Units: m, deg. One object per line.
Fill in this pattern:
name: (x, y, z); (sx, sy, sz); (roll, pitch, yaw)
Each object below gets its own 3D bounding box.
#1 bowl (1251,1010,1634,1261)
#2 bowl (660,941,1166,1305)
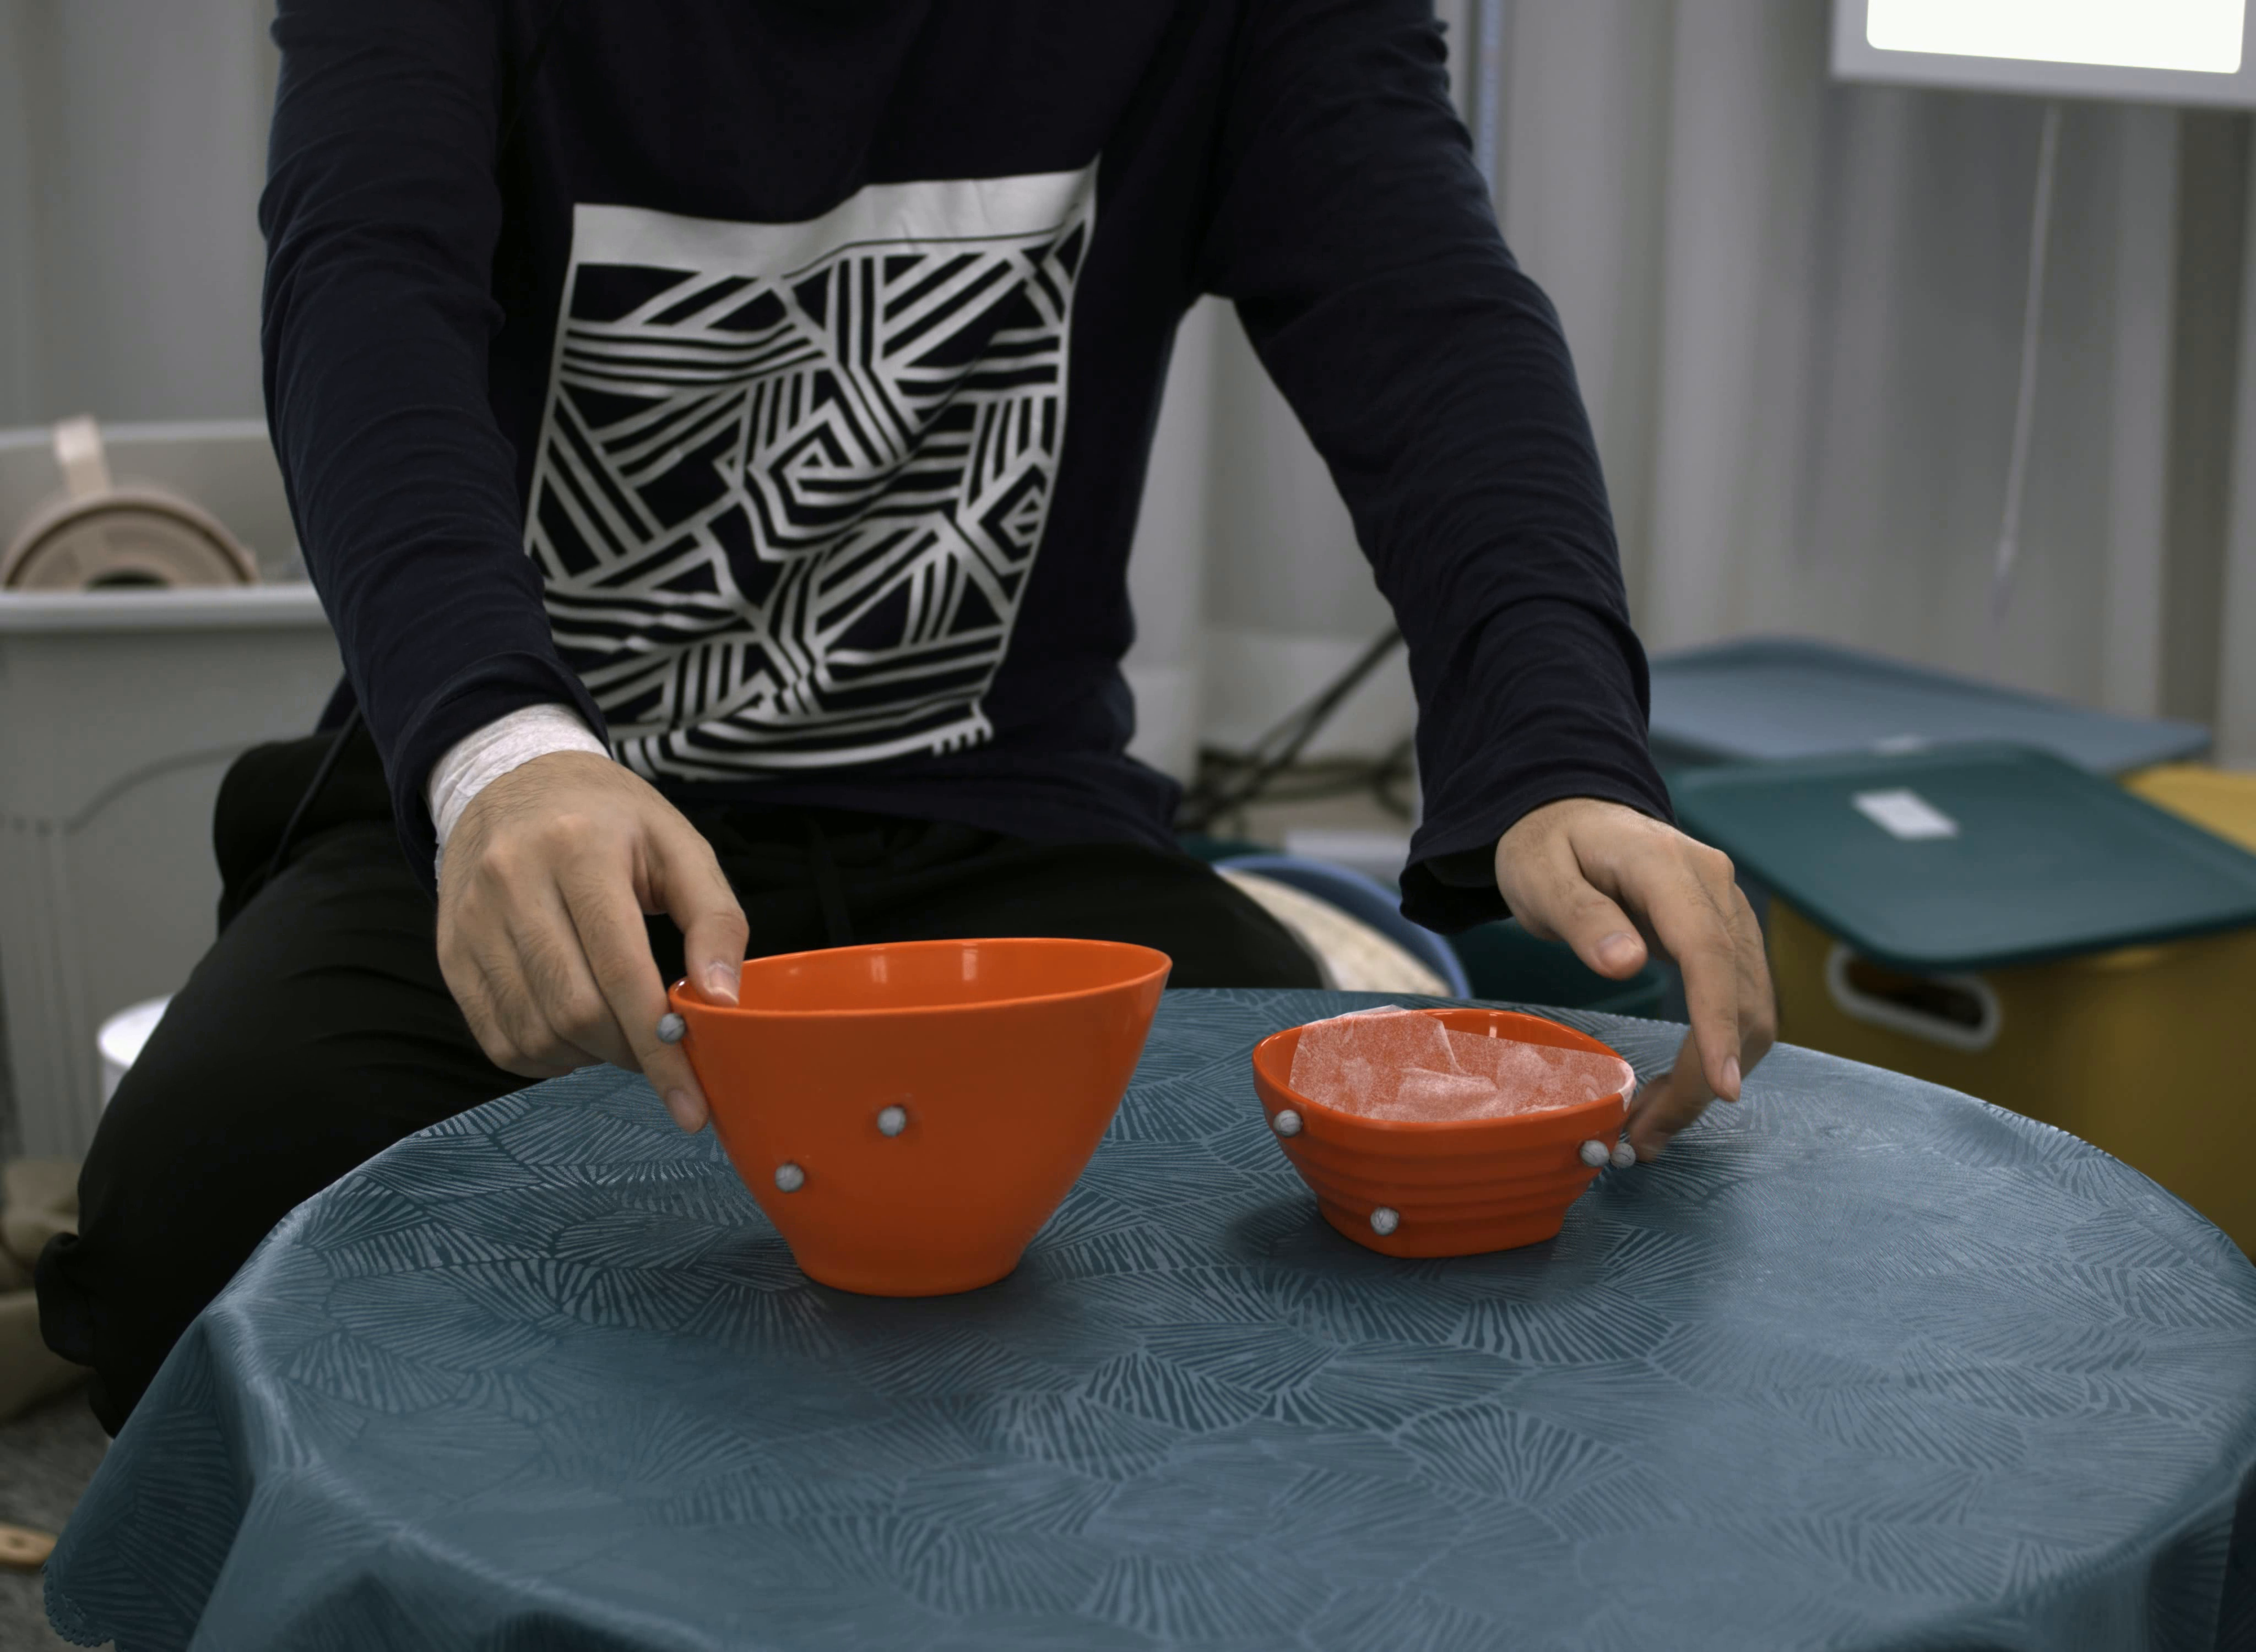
bowl: (0.095, 0.096, 1.597); (0.118, 0.052, 0.118); (-1, 15, 1)
bowl: (-0.062, 0.084, 1.539); (0.147, 0.105, 0.147); (0, 15, 0)
